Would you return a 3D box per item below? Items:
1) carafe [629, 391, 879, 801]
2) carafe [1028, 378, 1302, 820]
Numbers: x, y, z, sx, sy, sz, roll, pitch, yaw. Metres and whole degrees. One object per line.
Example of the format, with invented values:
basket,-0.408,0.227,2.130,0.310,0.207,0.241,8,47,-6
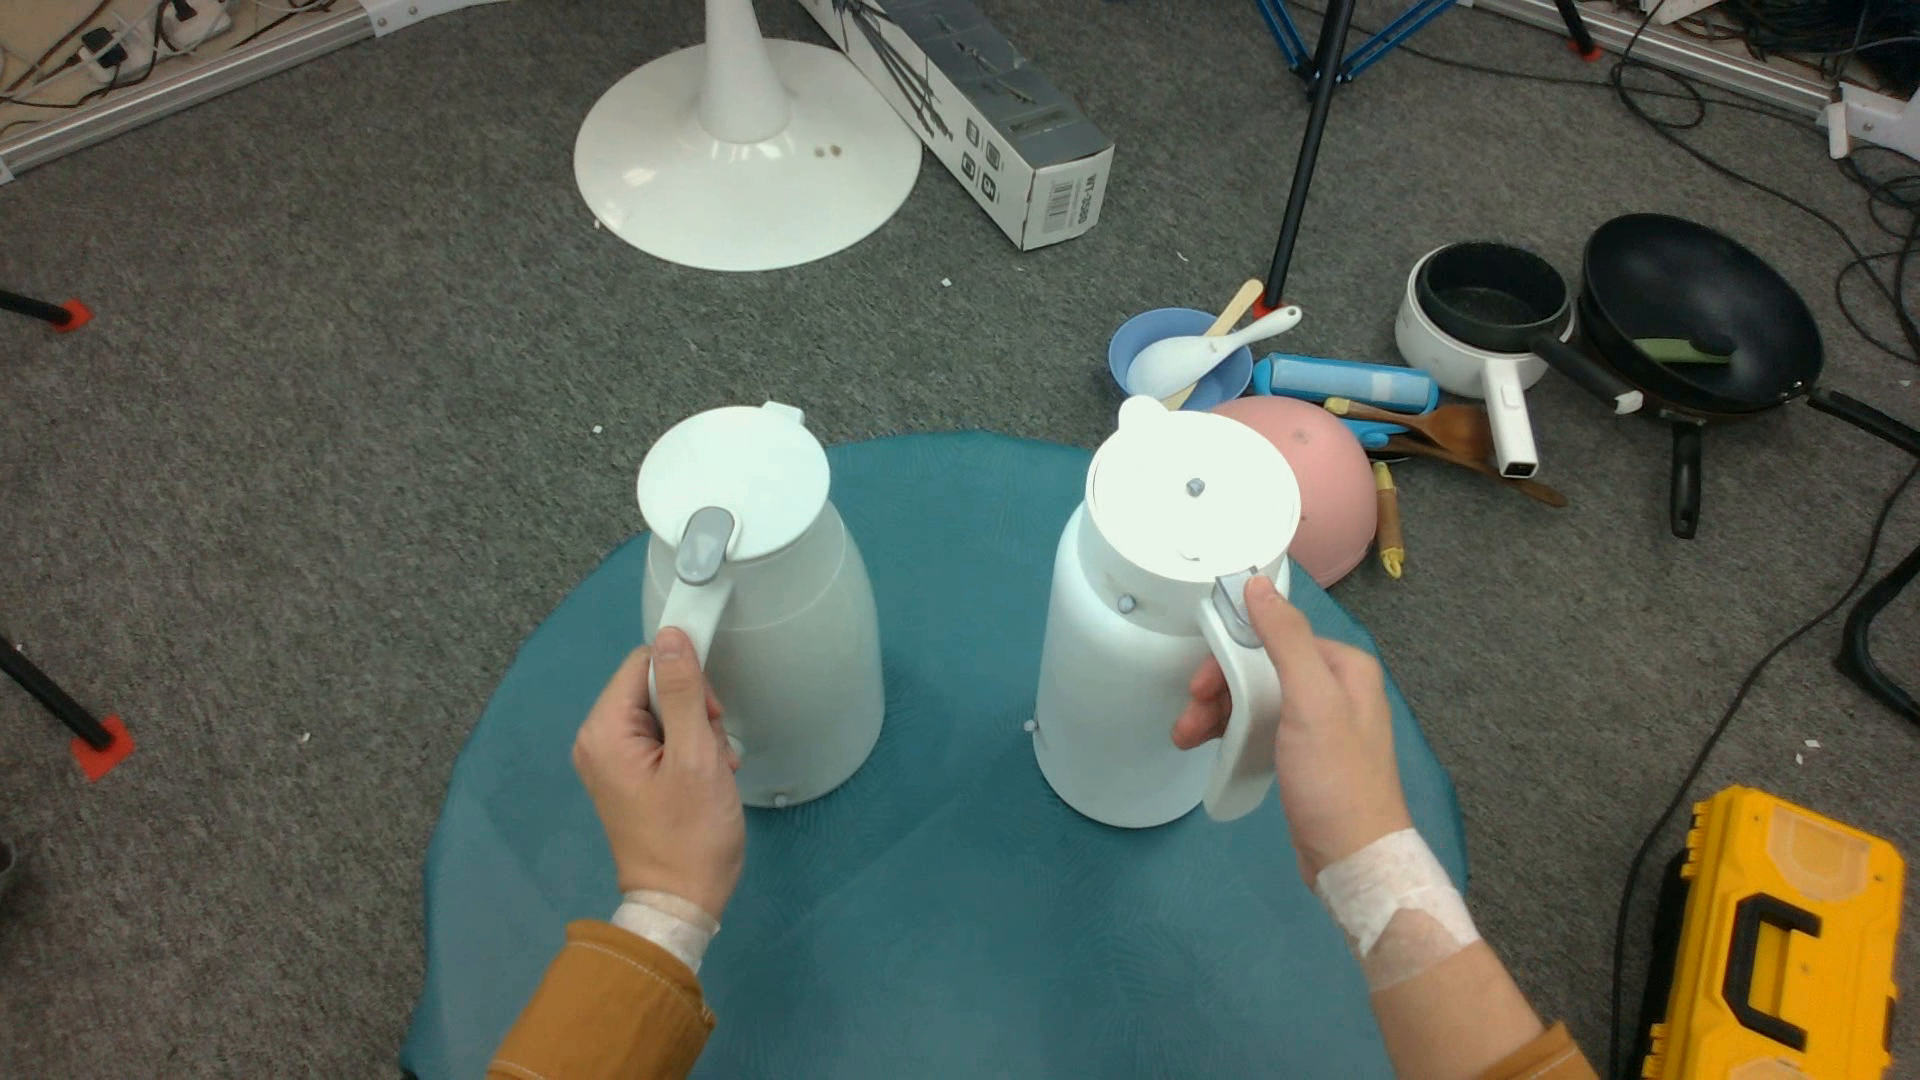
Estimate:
carafe,-0.119,0.047,0.740,0.132,0.247,0.168,15,57,8
carafe,0.109,0.060,0.730,0.124,0.267,0.173,-15,58,-14
